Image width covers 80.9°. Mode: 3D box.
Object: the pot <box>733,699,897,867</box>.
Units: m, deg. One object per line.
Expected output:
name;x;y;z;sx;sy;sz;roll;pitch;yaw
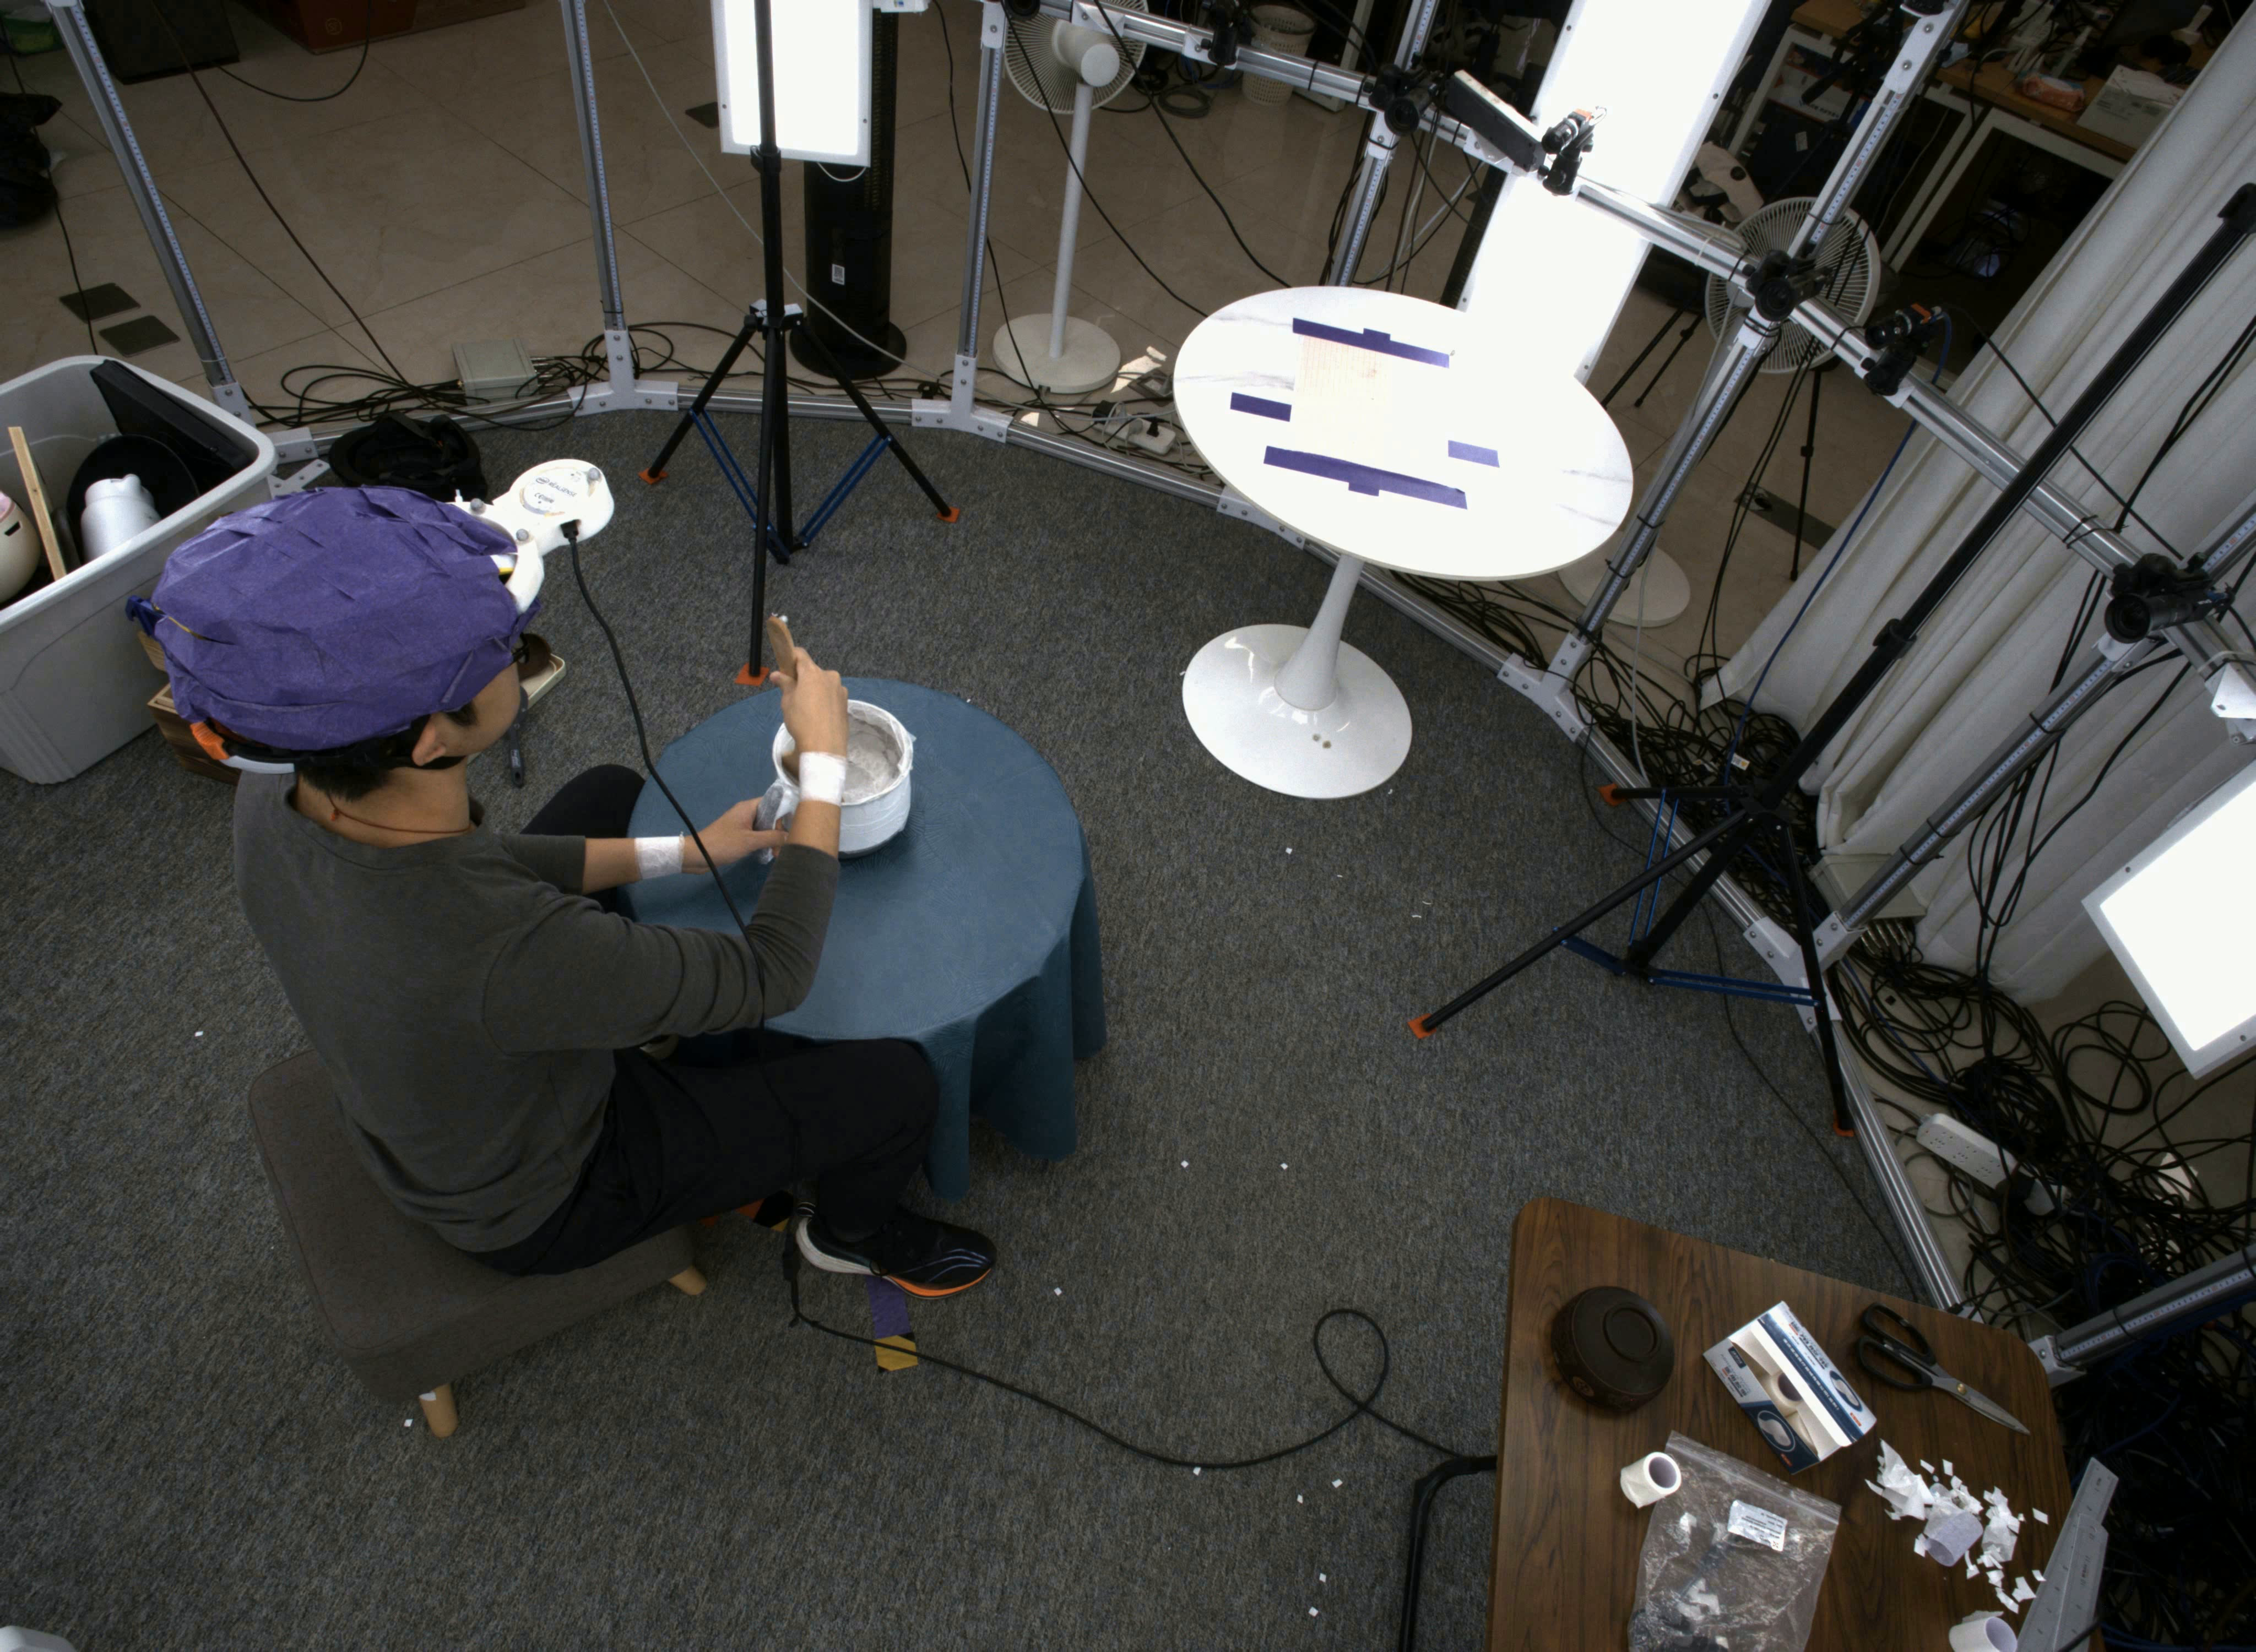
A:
pot;-0.411;-0.042;1.683;0.175;0.139;0.234;40;56;17

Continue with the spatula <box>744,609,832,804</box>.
spatula;-0.404;-0.126;1.516;0.094;0.398;0.018;28;61;9
